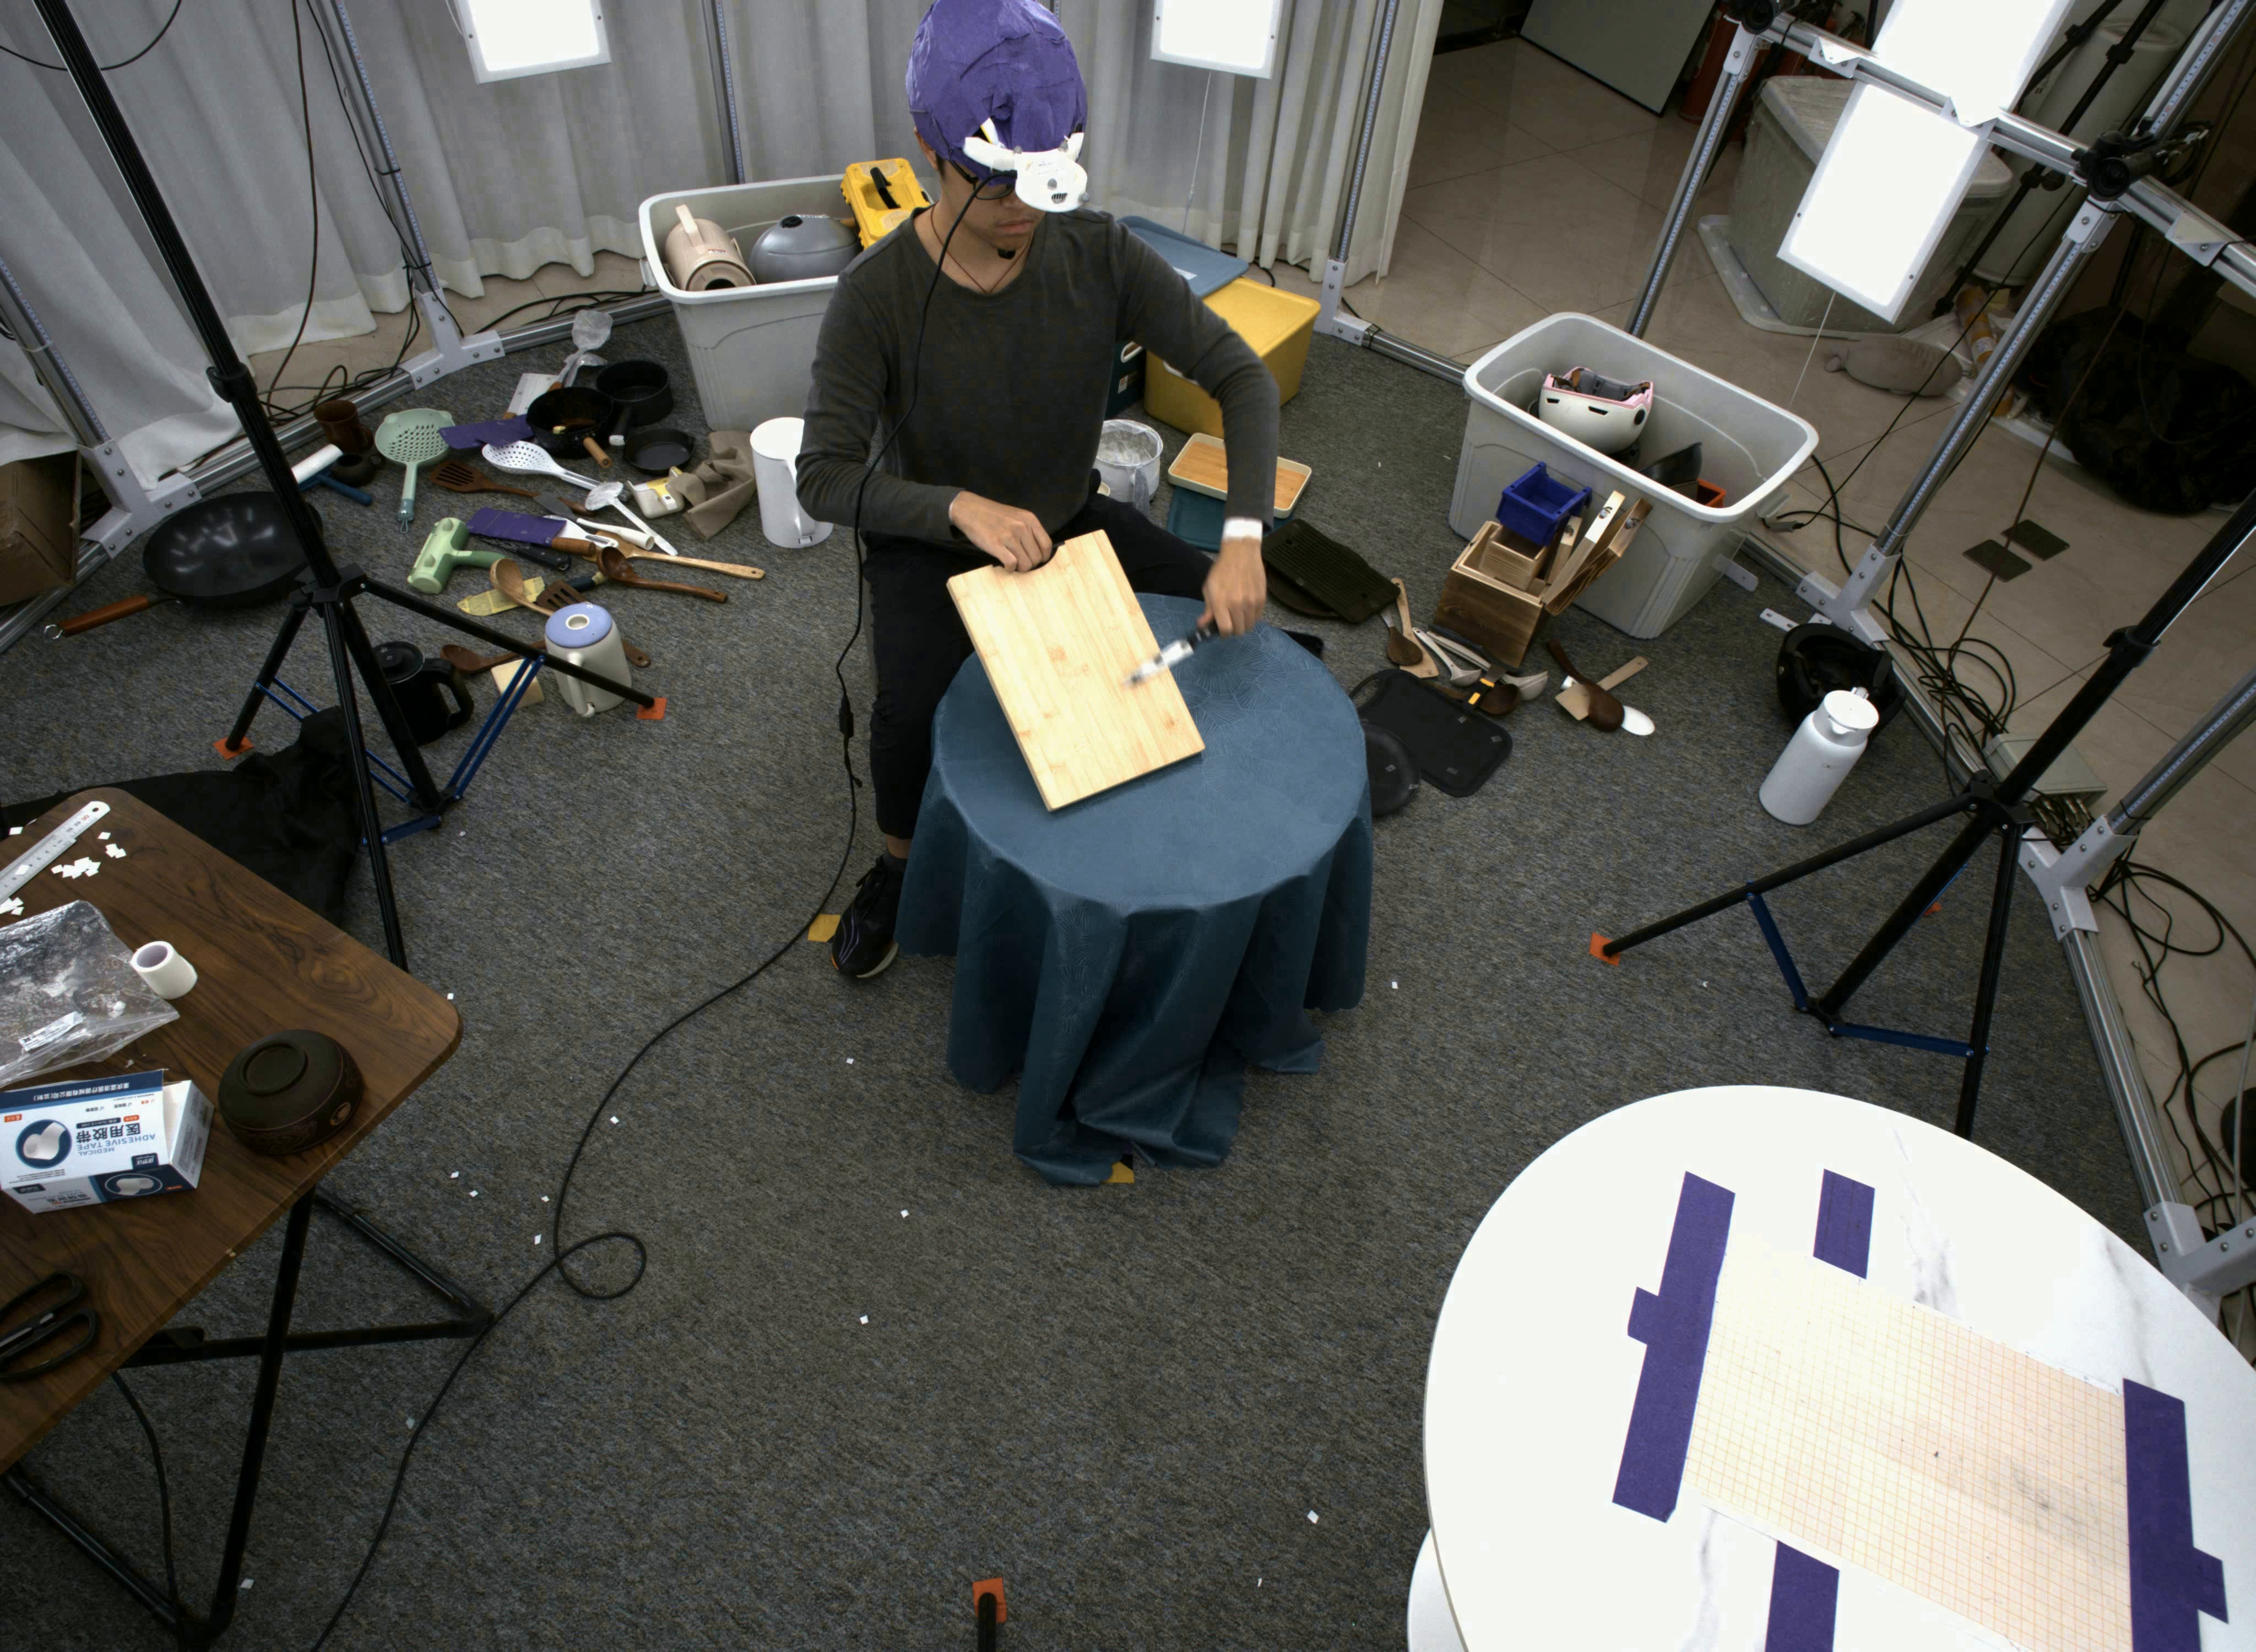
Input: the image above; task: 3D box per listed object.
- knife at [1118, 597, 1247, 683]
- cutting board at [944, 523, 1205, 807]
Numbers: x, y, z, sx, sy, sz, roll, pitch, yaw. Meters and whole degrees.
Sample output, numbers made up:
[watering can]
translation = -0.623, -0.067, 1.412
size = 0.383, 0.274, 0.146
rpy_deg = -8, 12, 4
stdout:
[knife]
translation = 0.075, -0.259, 1.780
size = 0.240, 0.016, 0.024
rpy_deg = -35, 102, -24
[cutting board]
translation = -0.071, -0.221, 1.736
size = 0.251, 0.023, 0.351
rpy_deg = -23, 82, -22
